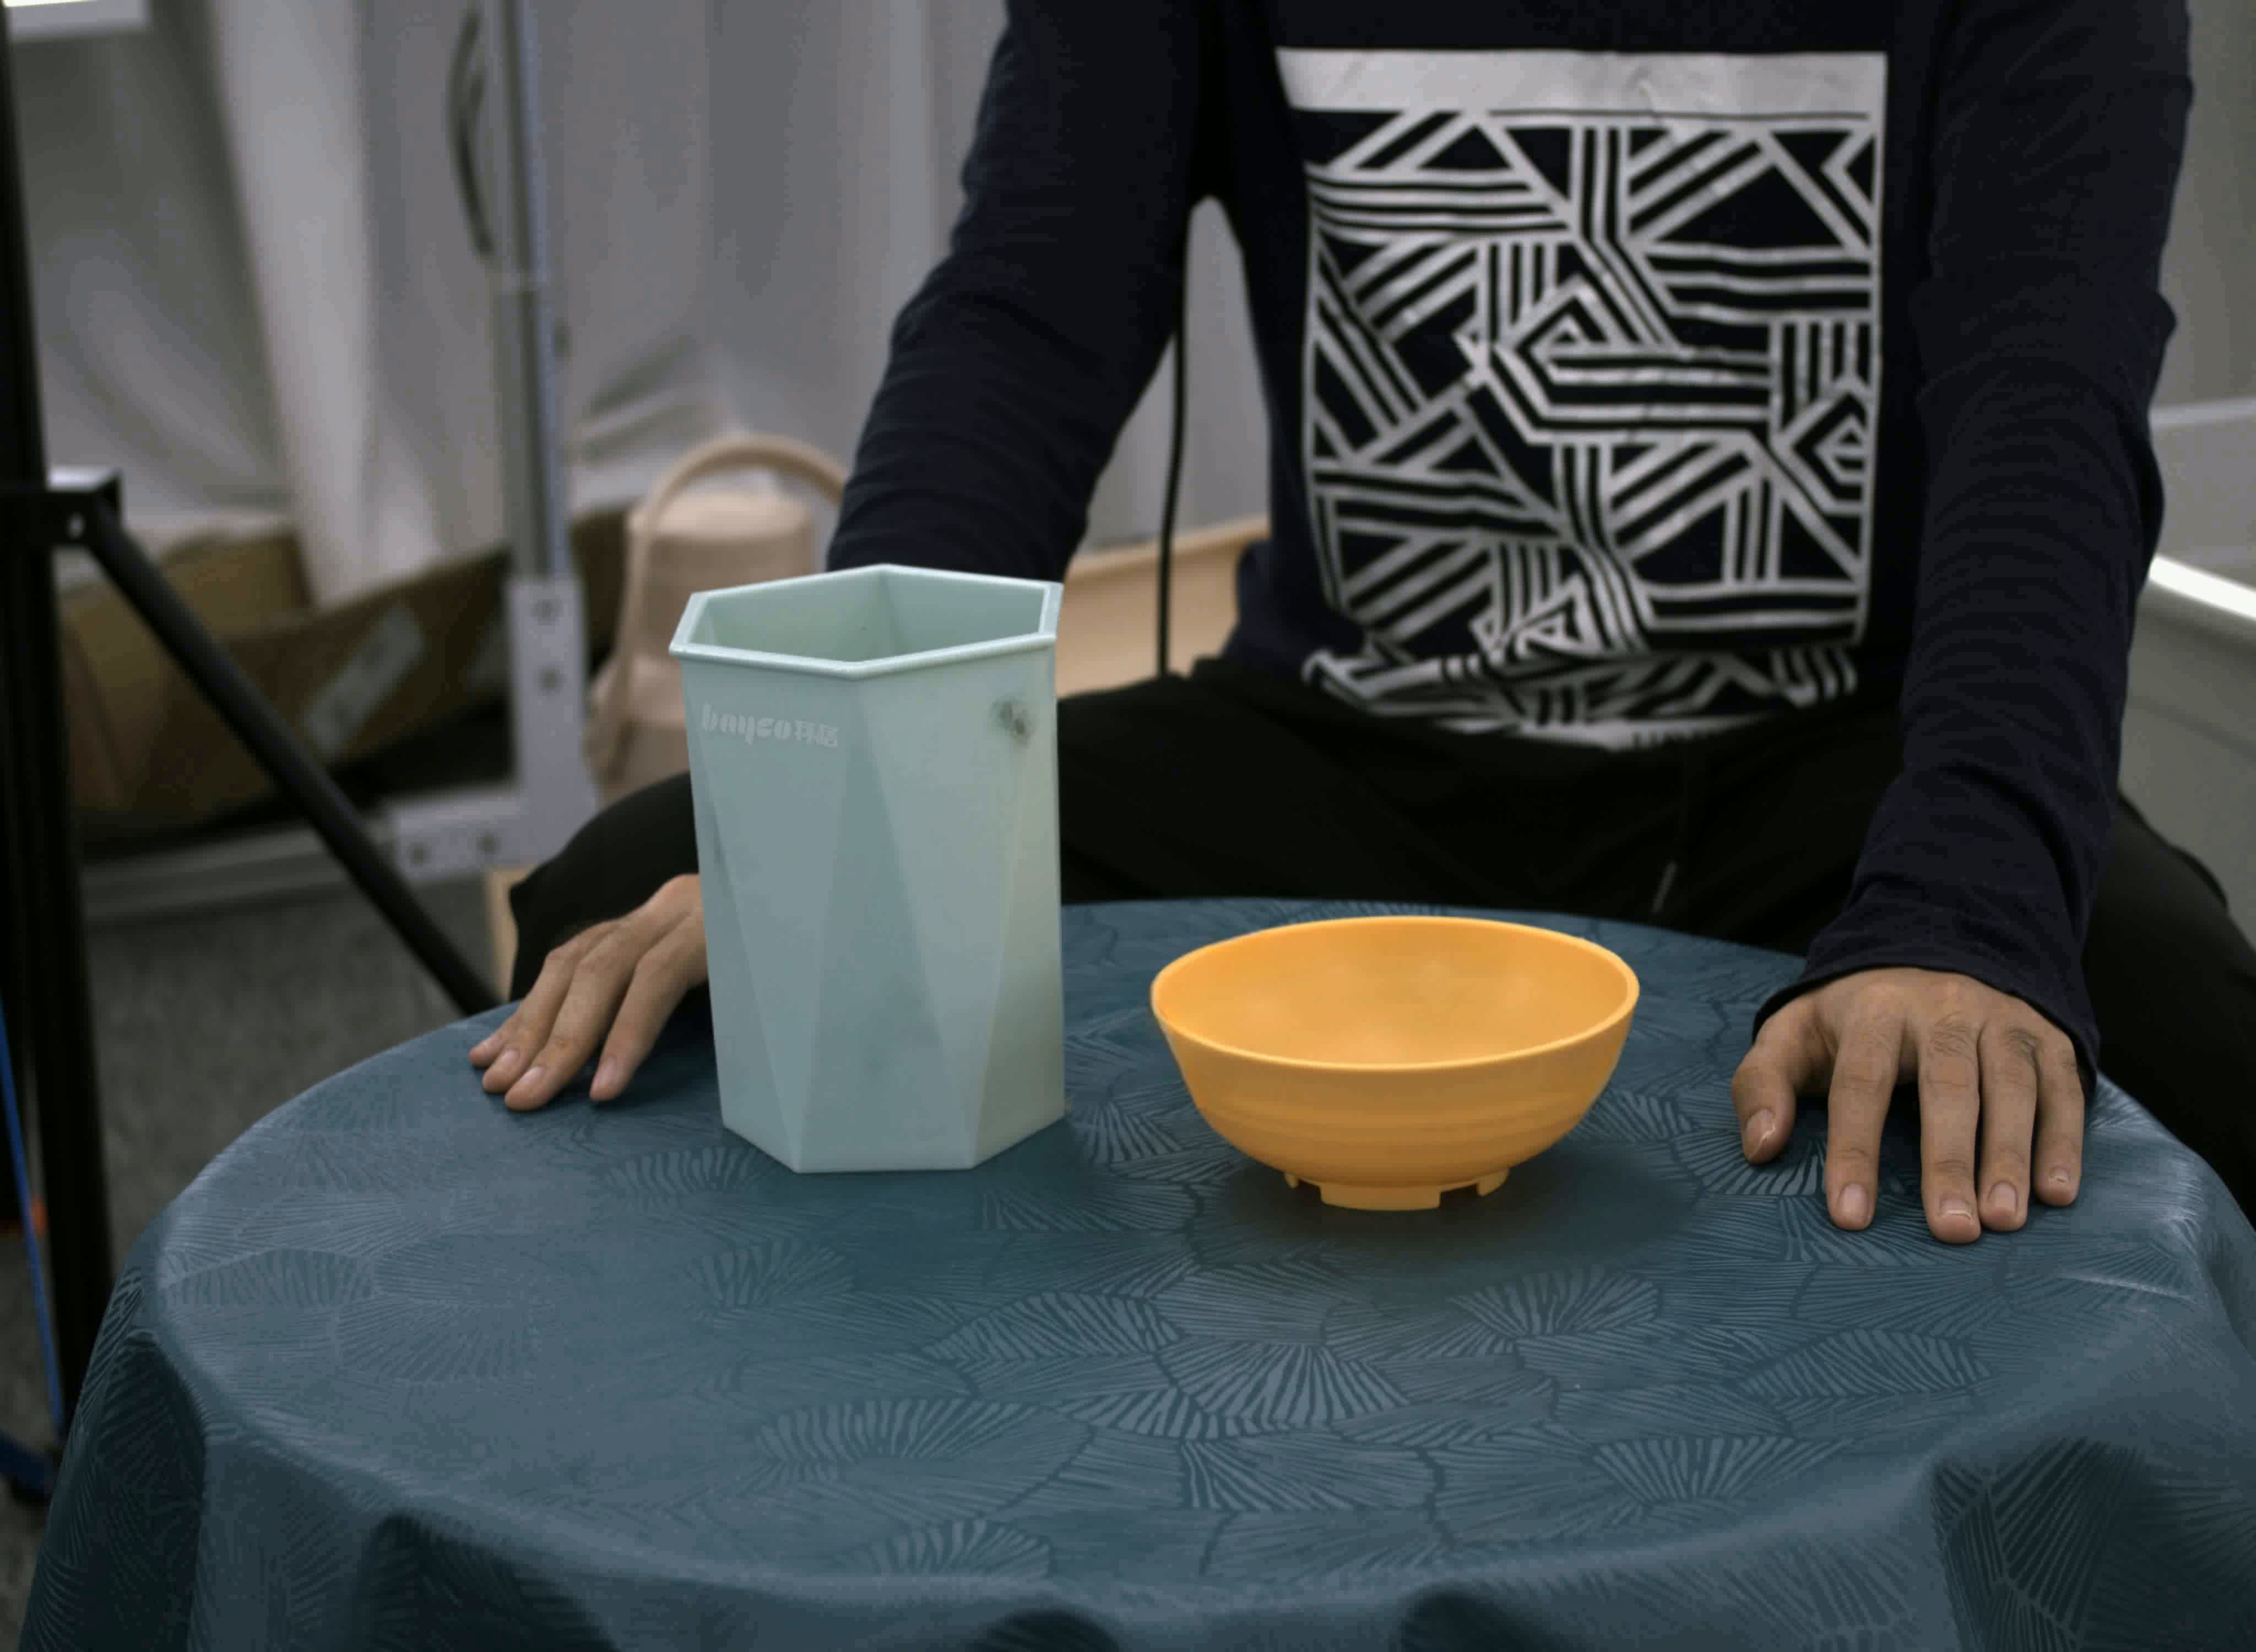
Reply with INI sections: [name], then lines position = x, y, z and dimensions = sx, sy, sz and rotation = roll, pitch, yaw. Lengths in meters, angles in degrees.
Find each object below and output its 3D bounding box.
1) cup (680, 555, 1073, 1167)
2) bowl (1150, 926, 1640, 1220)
[cup]
position = -0.074, 0.012, 1.610
dimensions = 0.133, 0.163, 0.113
rotation = 8, 17, 30
[bowl]
position = 0.078, 0.078, 1.561
dimensions = 0.144, 0.060, 0.146
rotation = 0, 15, -1
